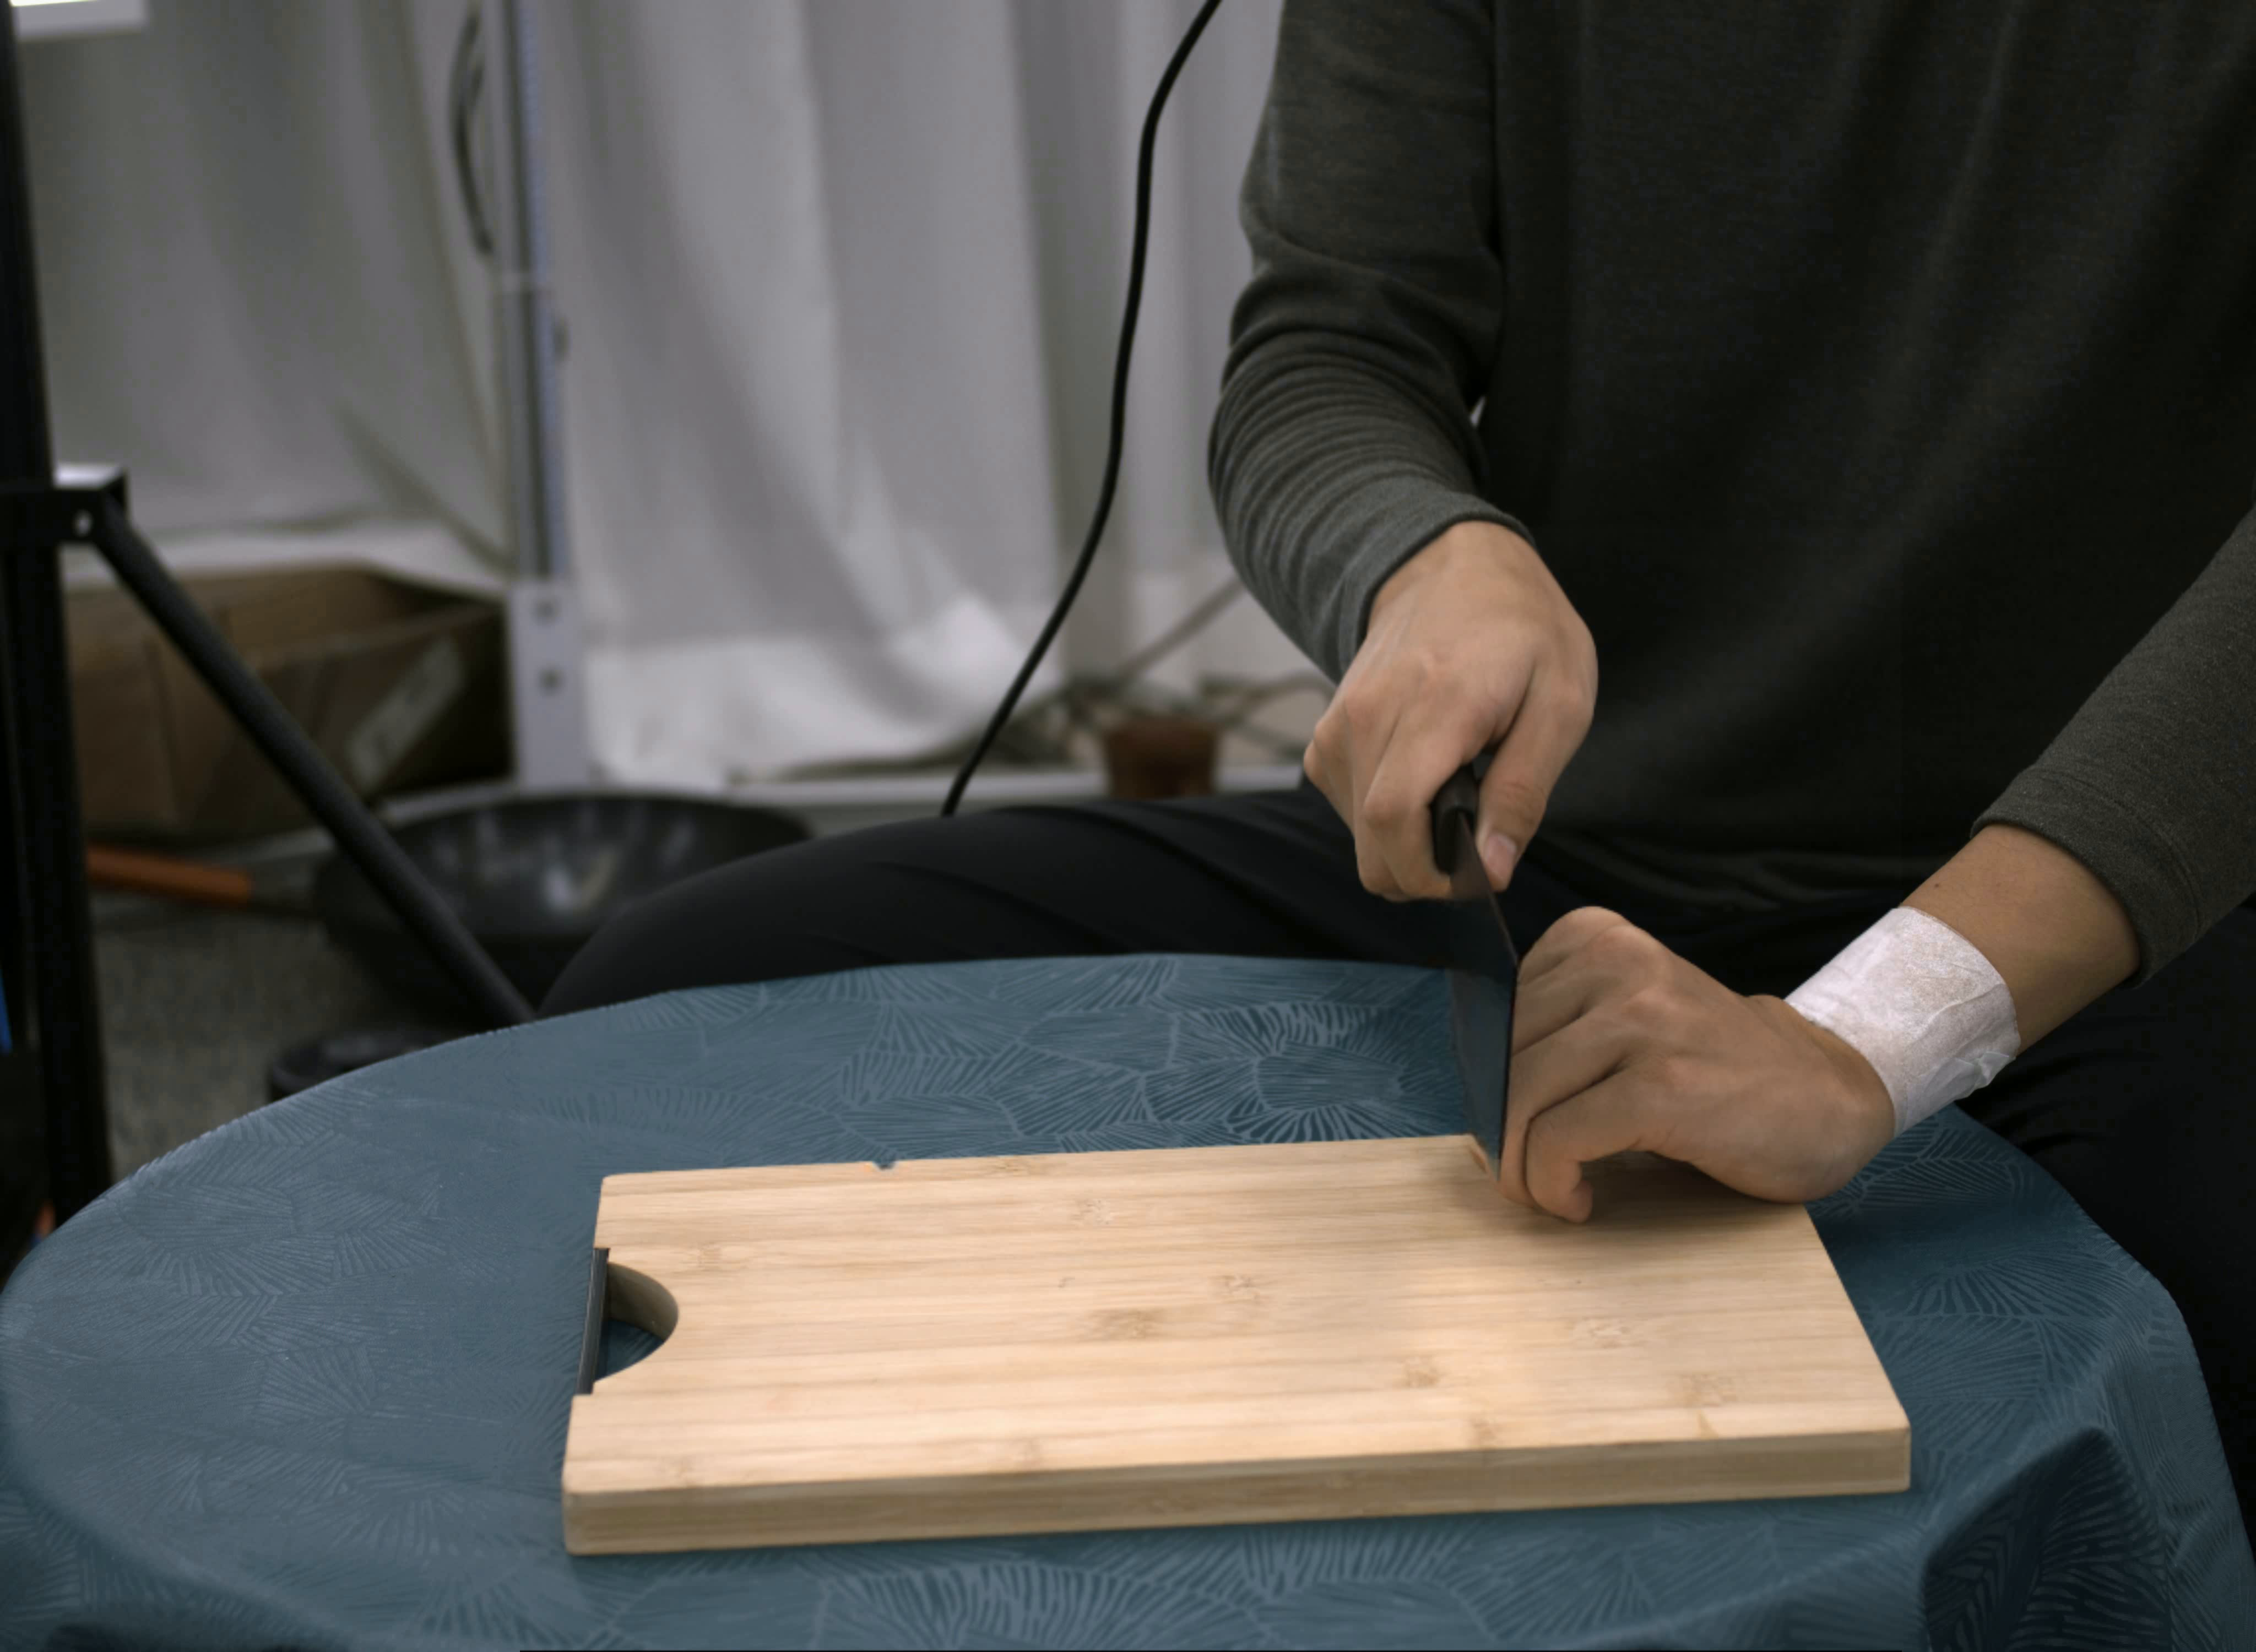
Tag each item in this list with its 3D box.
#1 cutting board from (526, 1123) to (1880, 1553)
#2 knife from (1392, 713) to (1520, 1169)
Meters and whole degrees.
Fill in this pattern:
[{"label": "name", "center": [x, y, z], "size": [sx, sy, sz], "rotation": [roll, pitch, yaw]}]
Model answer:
[{"label": "cutting board", "center": [0.017, 0.135, 1.434], "size": [0.346, 0.023, 0.252], "rotation": [-3, 15, -1]}, {"label": "knife", "center": [0.094, 0.024, 1.492], "size": [0.021, 0.081, 0.304], "rotation": [3, 17, -2]}]
